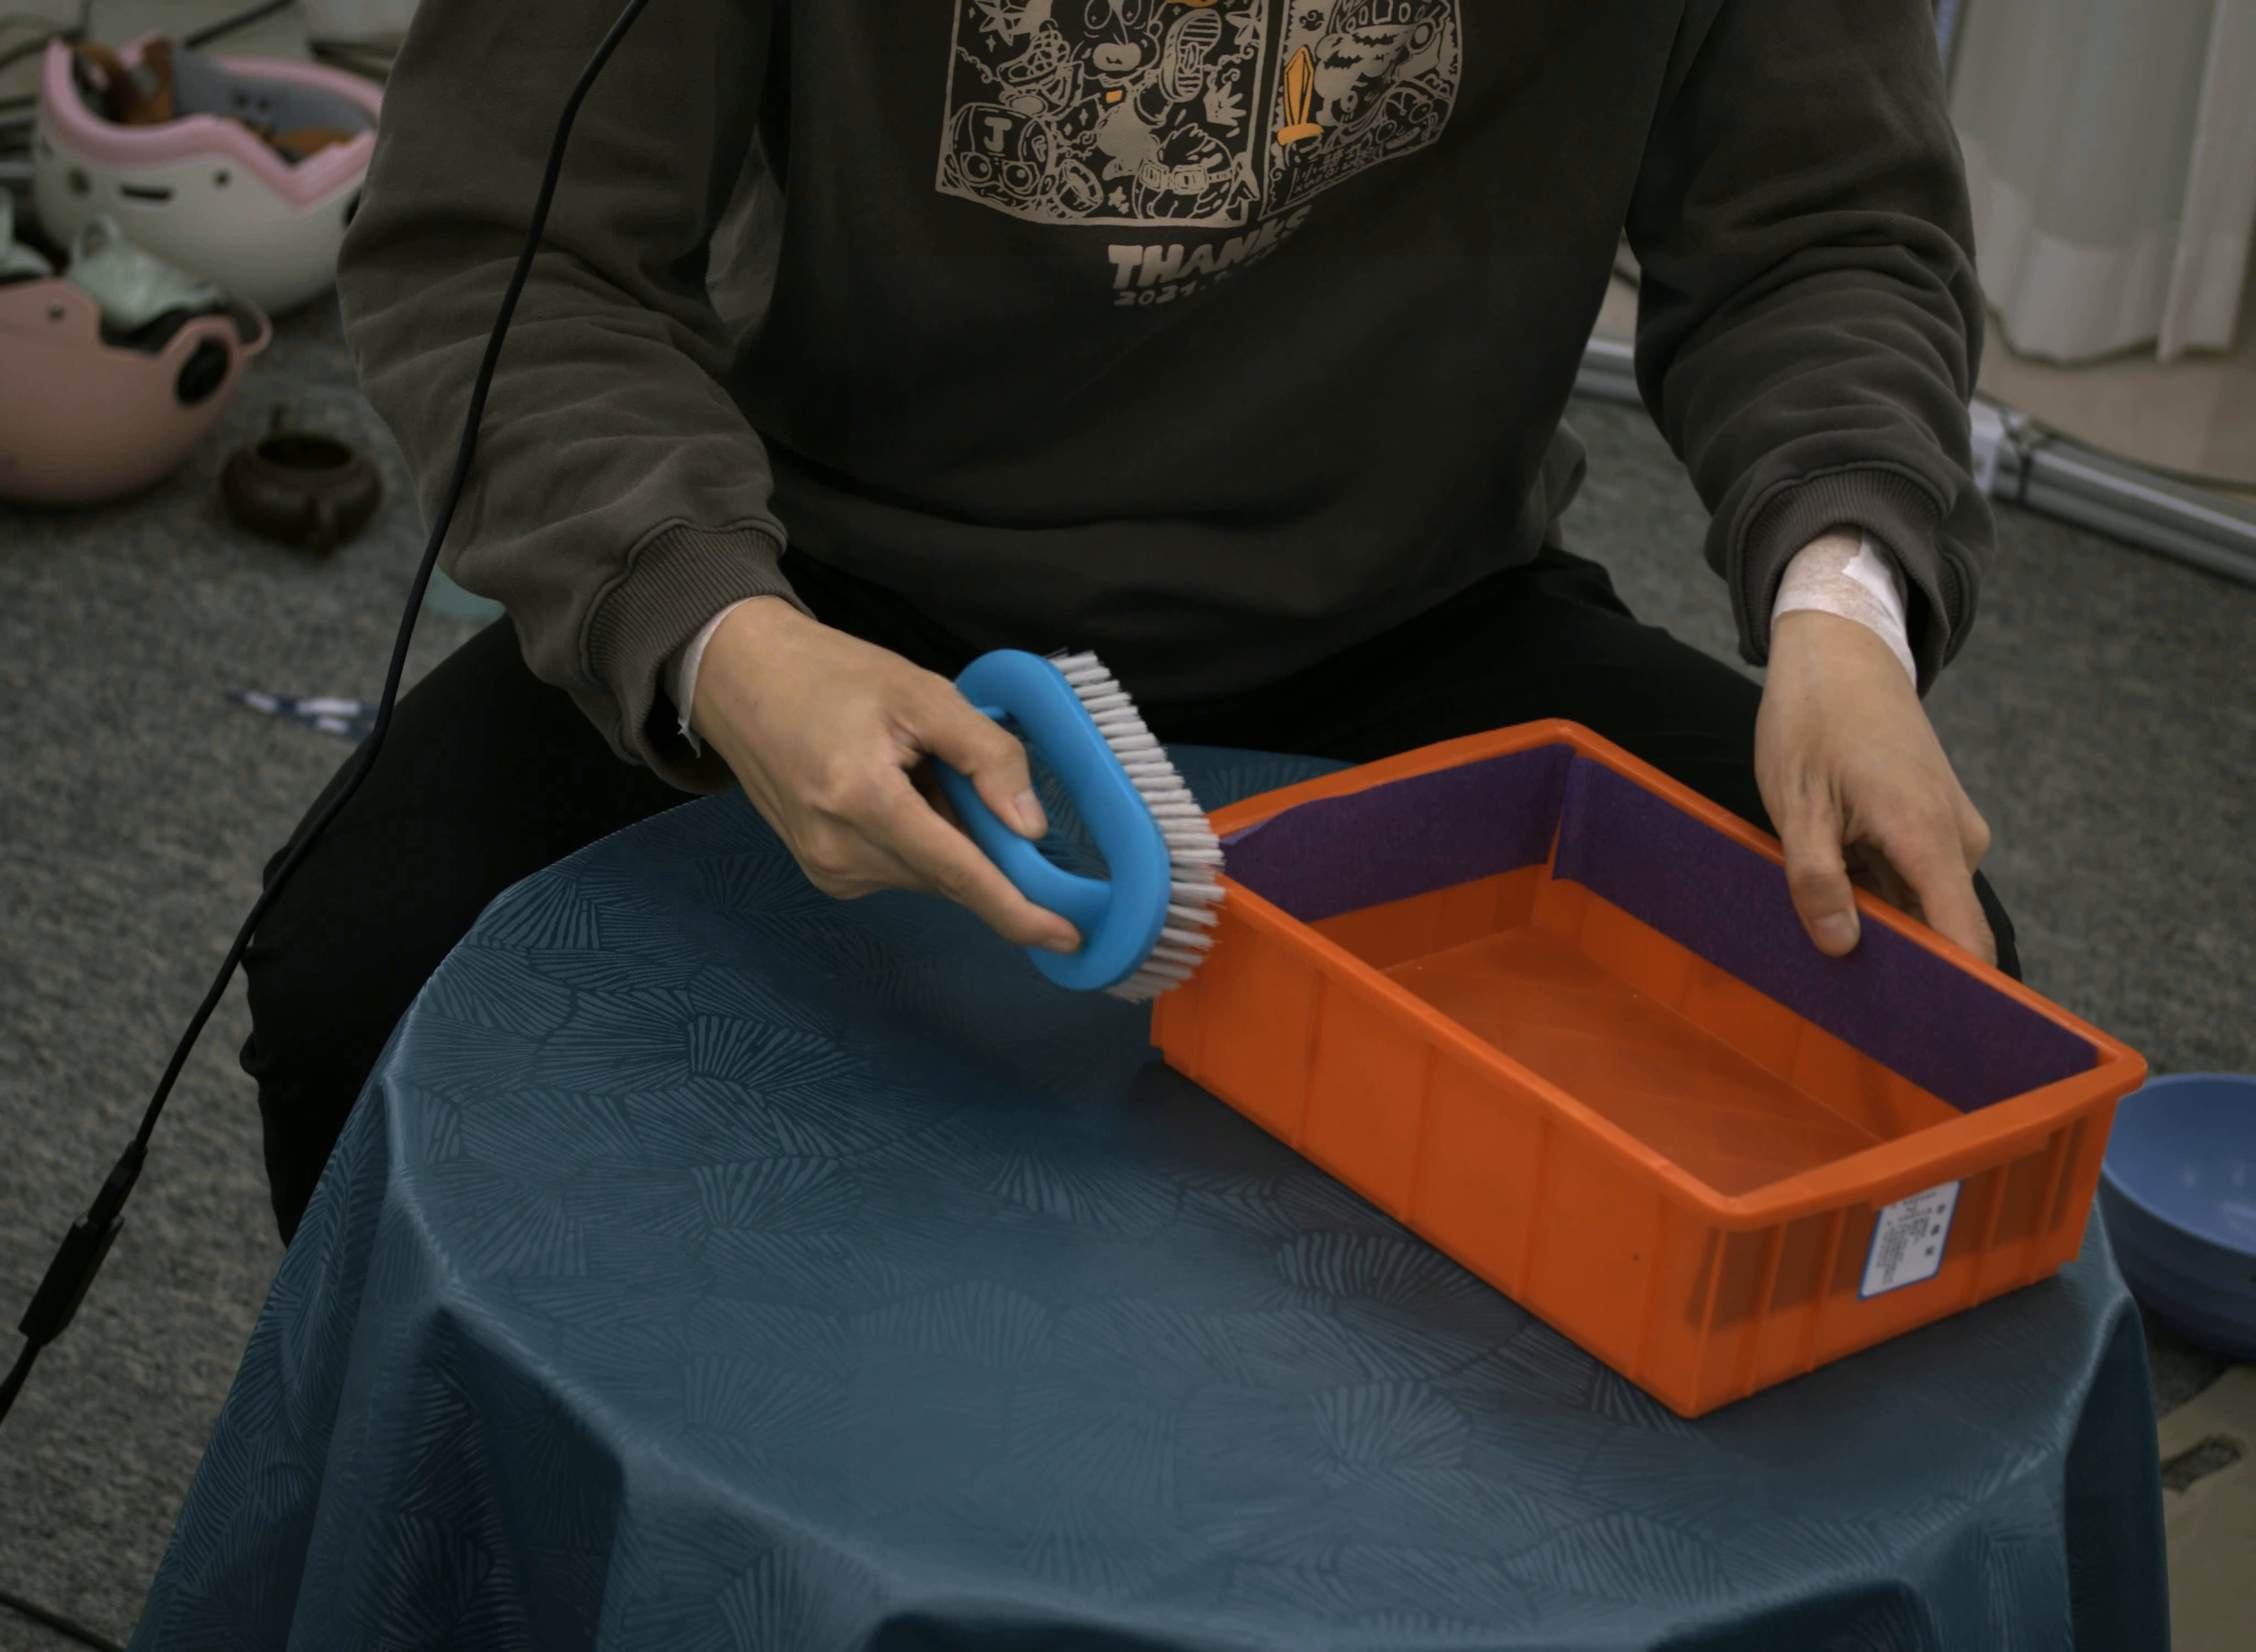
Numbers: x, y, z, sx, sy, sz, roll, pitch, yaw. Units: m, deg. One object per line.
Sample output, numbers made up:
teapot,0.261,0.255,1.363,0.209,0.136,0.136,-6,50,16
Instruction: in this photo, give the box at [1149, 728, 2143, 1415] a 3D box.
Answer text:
box,0.168,0.080,1.833,0.205,0.096,0.306,-15,34,-36

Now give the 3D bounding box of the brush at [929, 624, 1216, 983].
brush,-0.030,-0.006,1.842,0.063,0.084,0.143,2,47,-40
